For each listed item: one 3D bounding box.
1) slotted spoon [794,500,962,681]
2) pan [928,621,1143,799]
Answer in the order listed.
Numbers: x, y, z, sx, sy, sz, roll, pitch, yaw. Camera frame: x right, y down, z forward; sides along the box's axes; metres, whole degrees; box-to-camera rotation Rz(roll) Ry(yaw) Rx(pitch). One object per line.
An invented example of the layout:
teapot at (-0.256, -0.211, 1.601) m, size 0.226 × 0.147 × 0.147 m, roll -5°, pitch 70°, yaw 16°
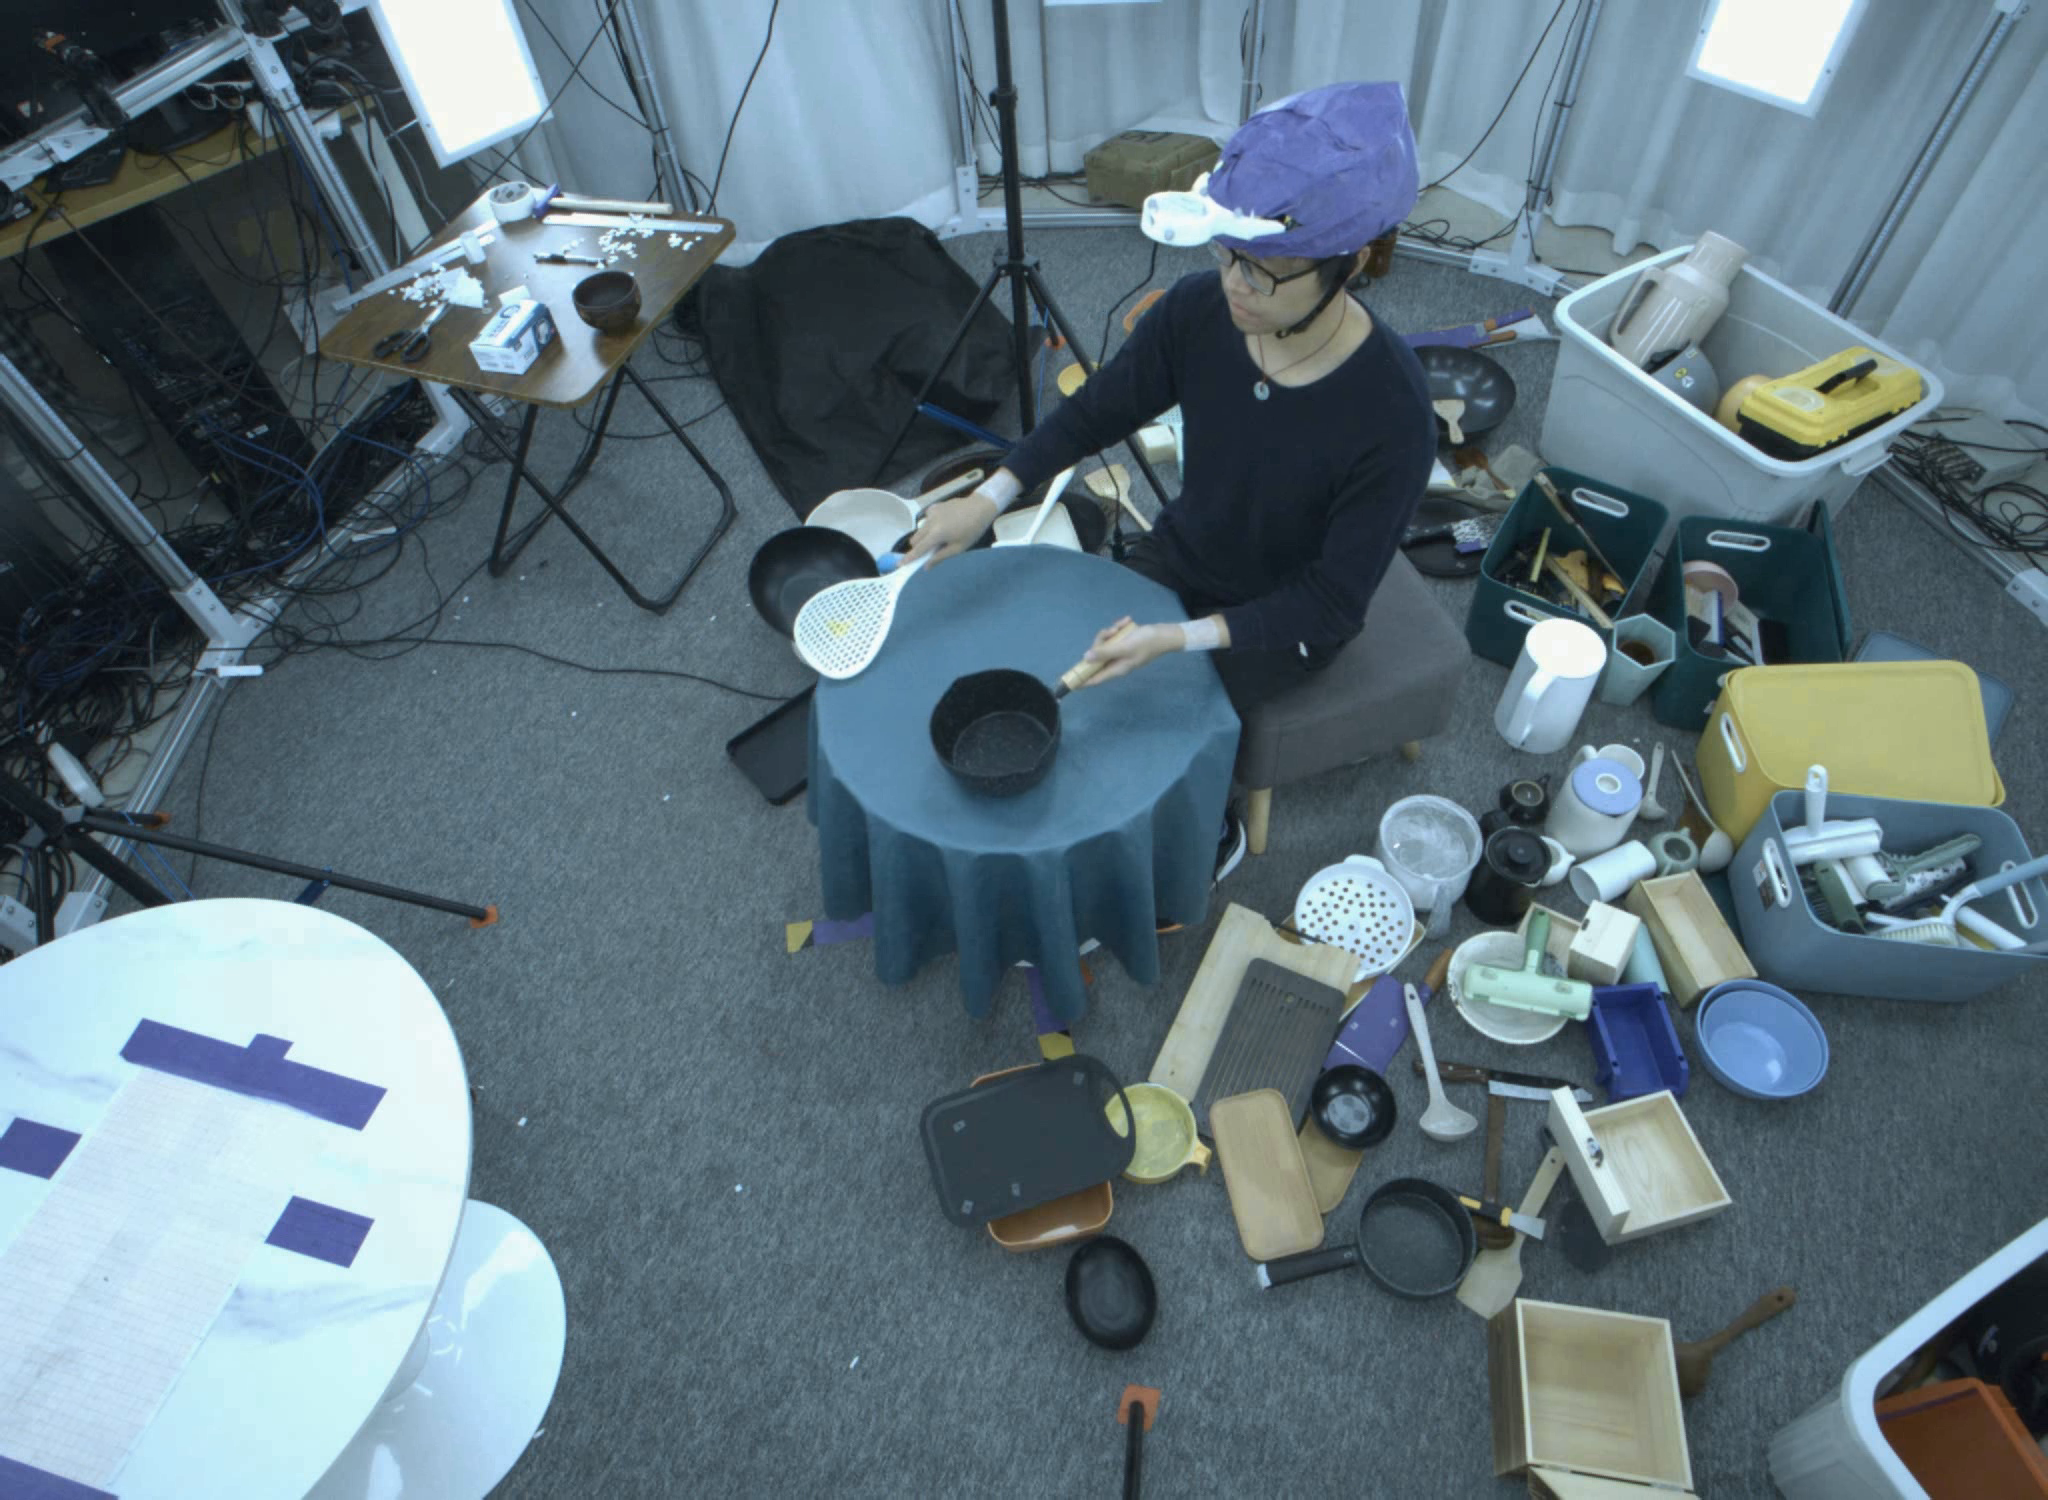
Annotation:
slotted spoon at (-0.210, -0.255, 1.870) m, size 0.348 × 0.139 × 0.049 m, roll -45°, pitch 25°, yaw -7°
pan at (0.028, -0.065, 1.750) m, size 0.344 × 0.110 × 0.203 m, roll -33°, pitch 58°, yaw -12°
